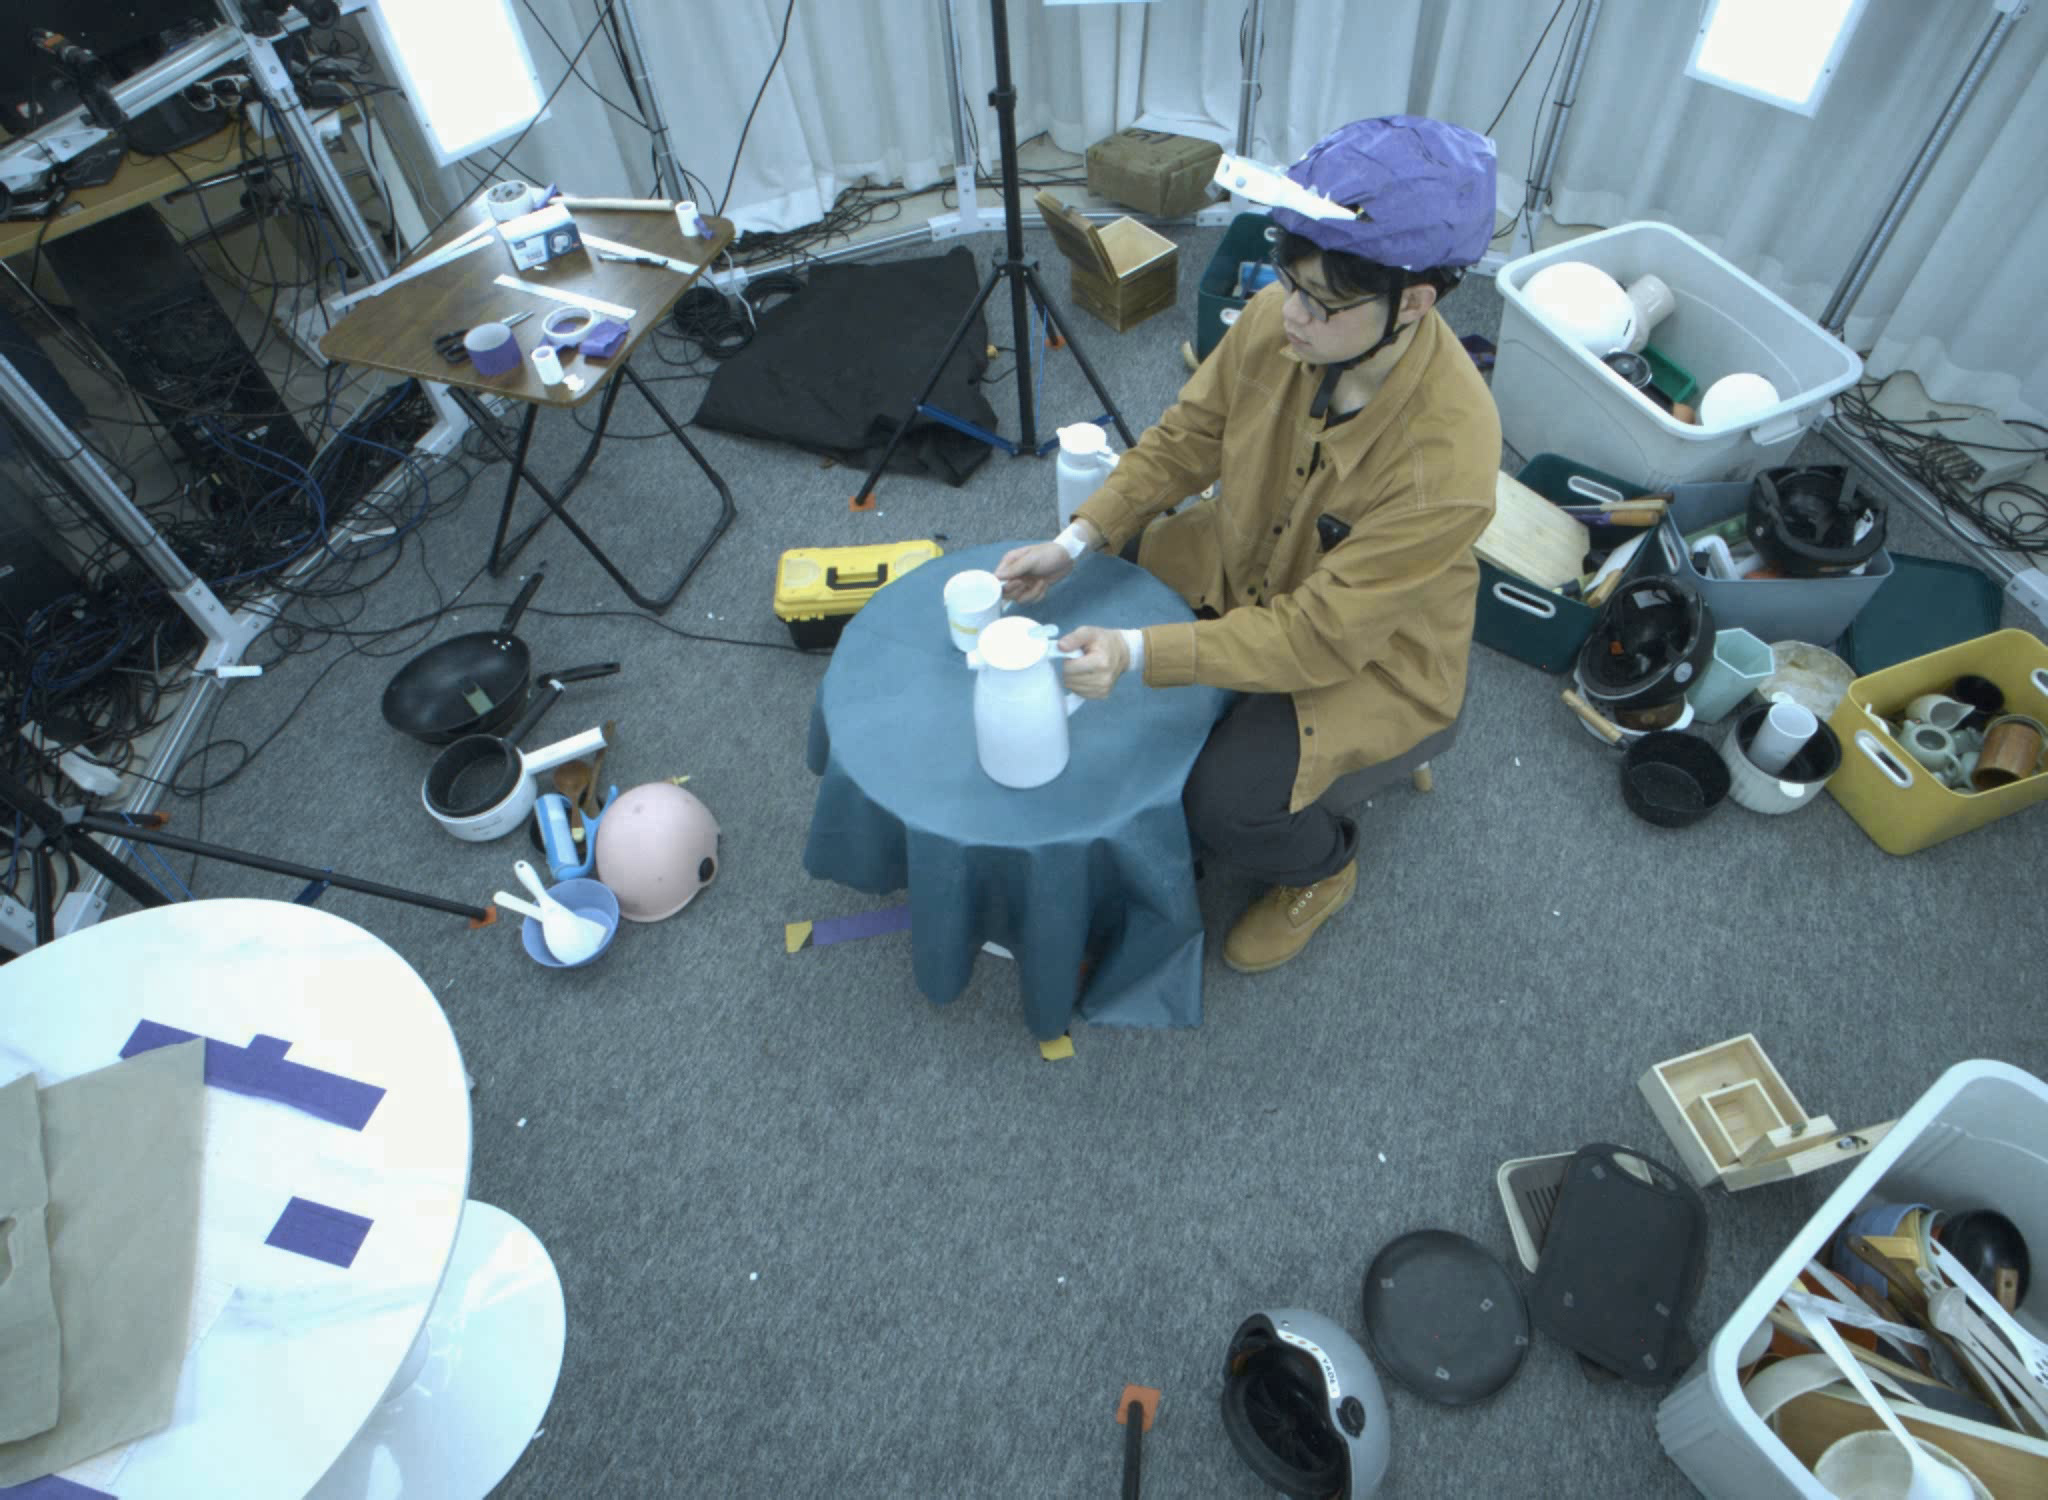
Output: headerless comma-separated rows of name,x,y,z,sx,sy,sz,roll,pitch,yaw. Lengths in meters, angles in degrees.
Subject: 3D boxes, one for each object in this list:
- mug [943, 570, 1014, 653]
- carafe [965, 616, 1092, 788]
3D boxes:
mug,-0.064,-0.219,1.877,0.119,0.103,0.083,-38,61,-22
carafe,0.010,-0.076,1.684,0.168,0.251,0.130,-13,54,-7
